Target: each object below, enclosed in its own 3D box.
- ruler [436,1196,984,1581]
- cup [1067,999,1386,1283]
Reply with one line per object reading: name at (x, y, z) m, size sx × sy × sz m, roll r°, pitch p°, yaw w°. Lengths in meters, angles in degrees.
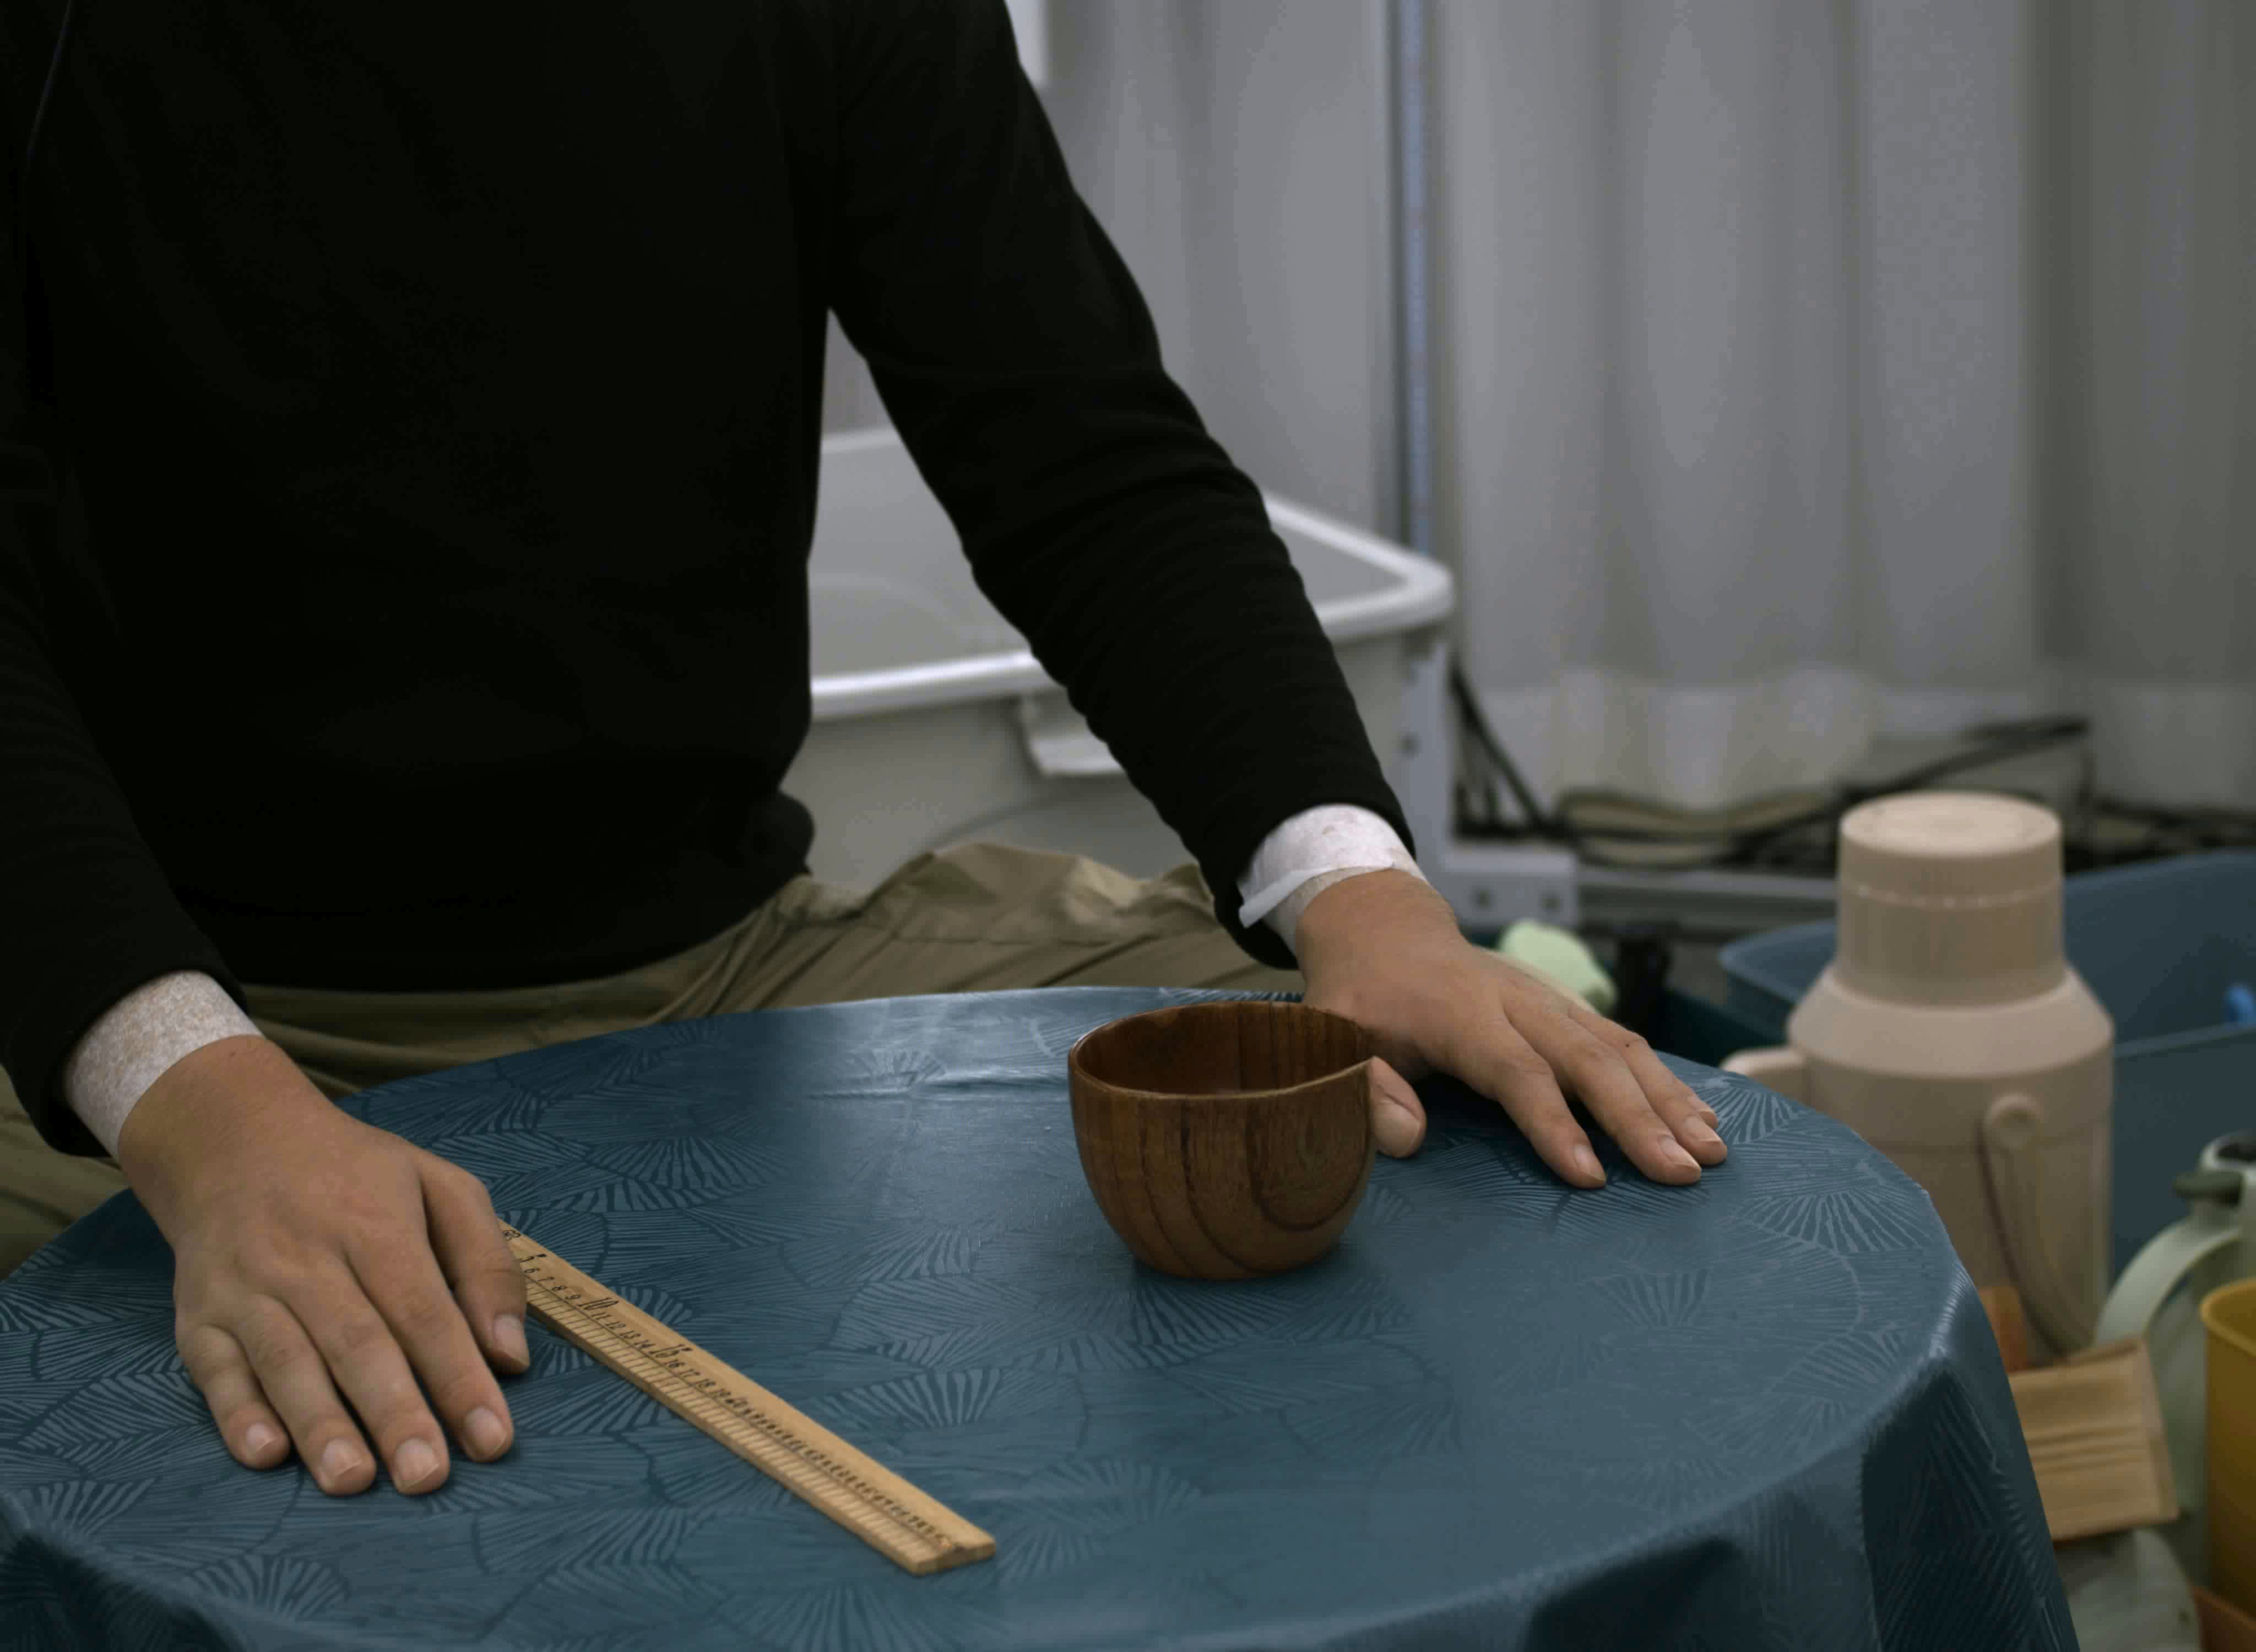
ruler at (-0.127, 0.155, 1.567) m, size 0.027 × 0.022 × 0.334 m, roll -5°, pitch 15°, yaw -28°
cup at (0.027, 0.094, 1.661) m, size 0.096 × 0.067 × 0.120 m, roll -11°, pitch 15°, yaw -23°
